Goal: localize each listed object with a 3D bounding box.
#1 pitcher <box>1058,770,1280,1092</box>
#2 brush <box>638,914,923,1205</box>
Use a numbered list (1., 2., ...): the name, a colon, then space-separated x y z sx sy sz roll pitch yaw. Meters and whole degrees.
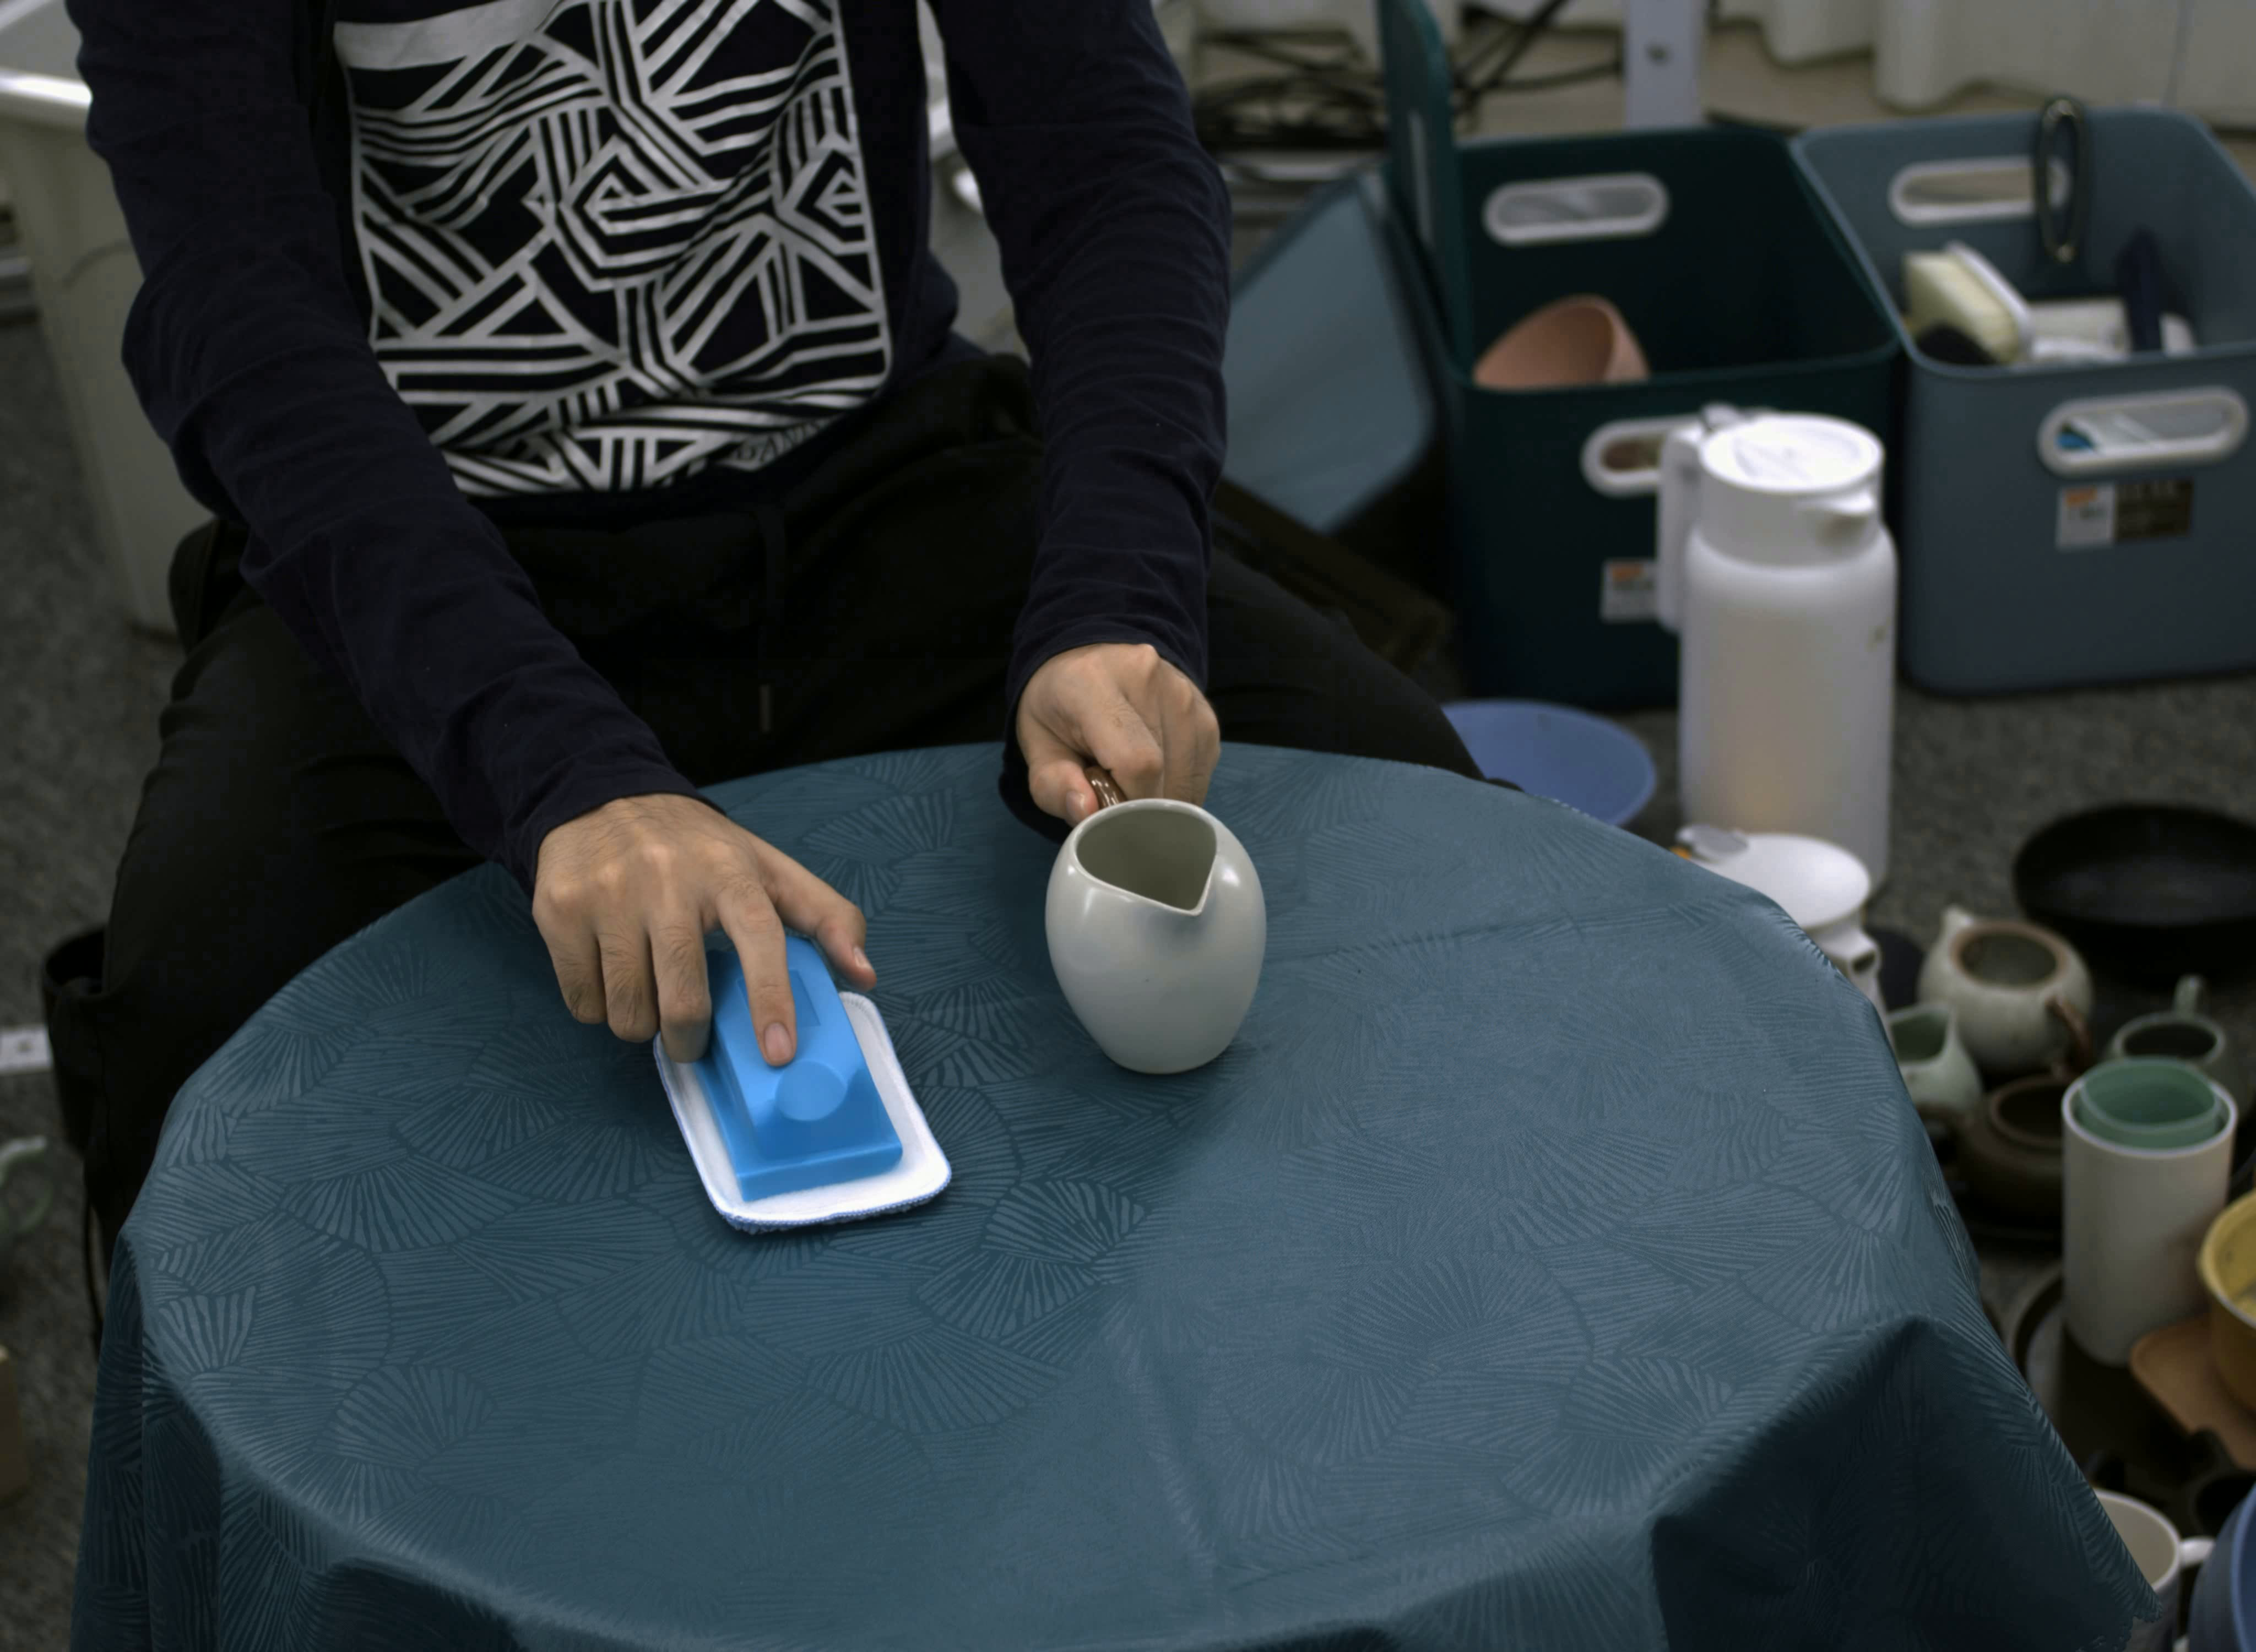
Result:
1. pitcher: 0.012 0.039 1.919 0.076 0.086 0.121 -8 39 -11
2. brush: -0.117 0.074 1.897 0.084 0.055 0.146 -6 30 -12
